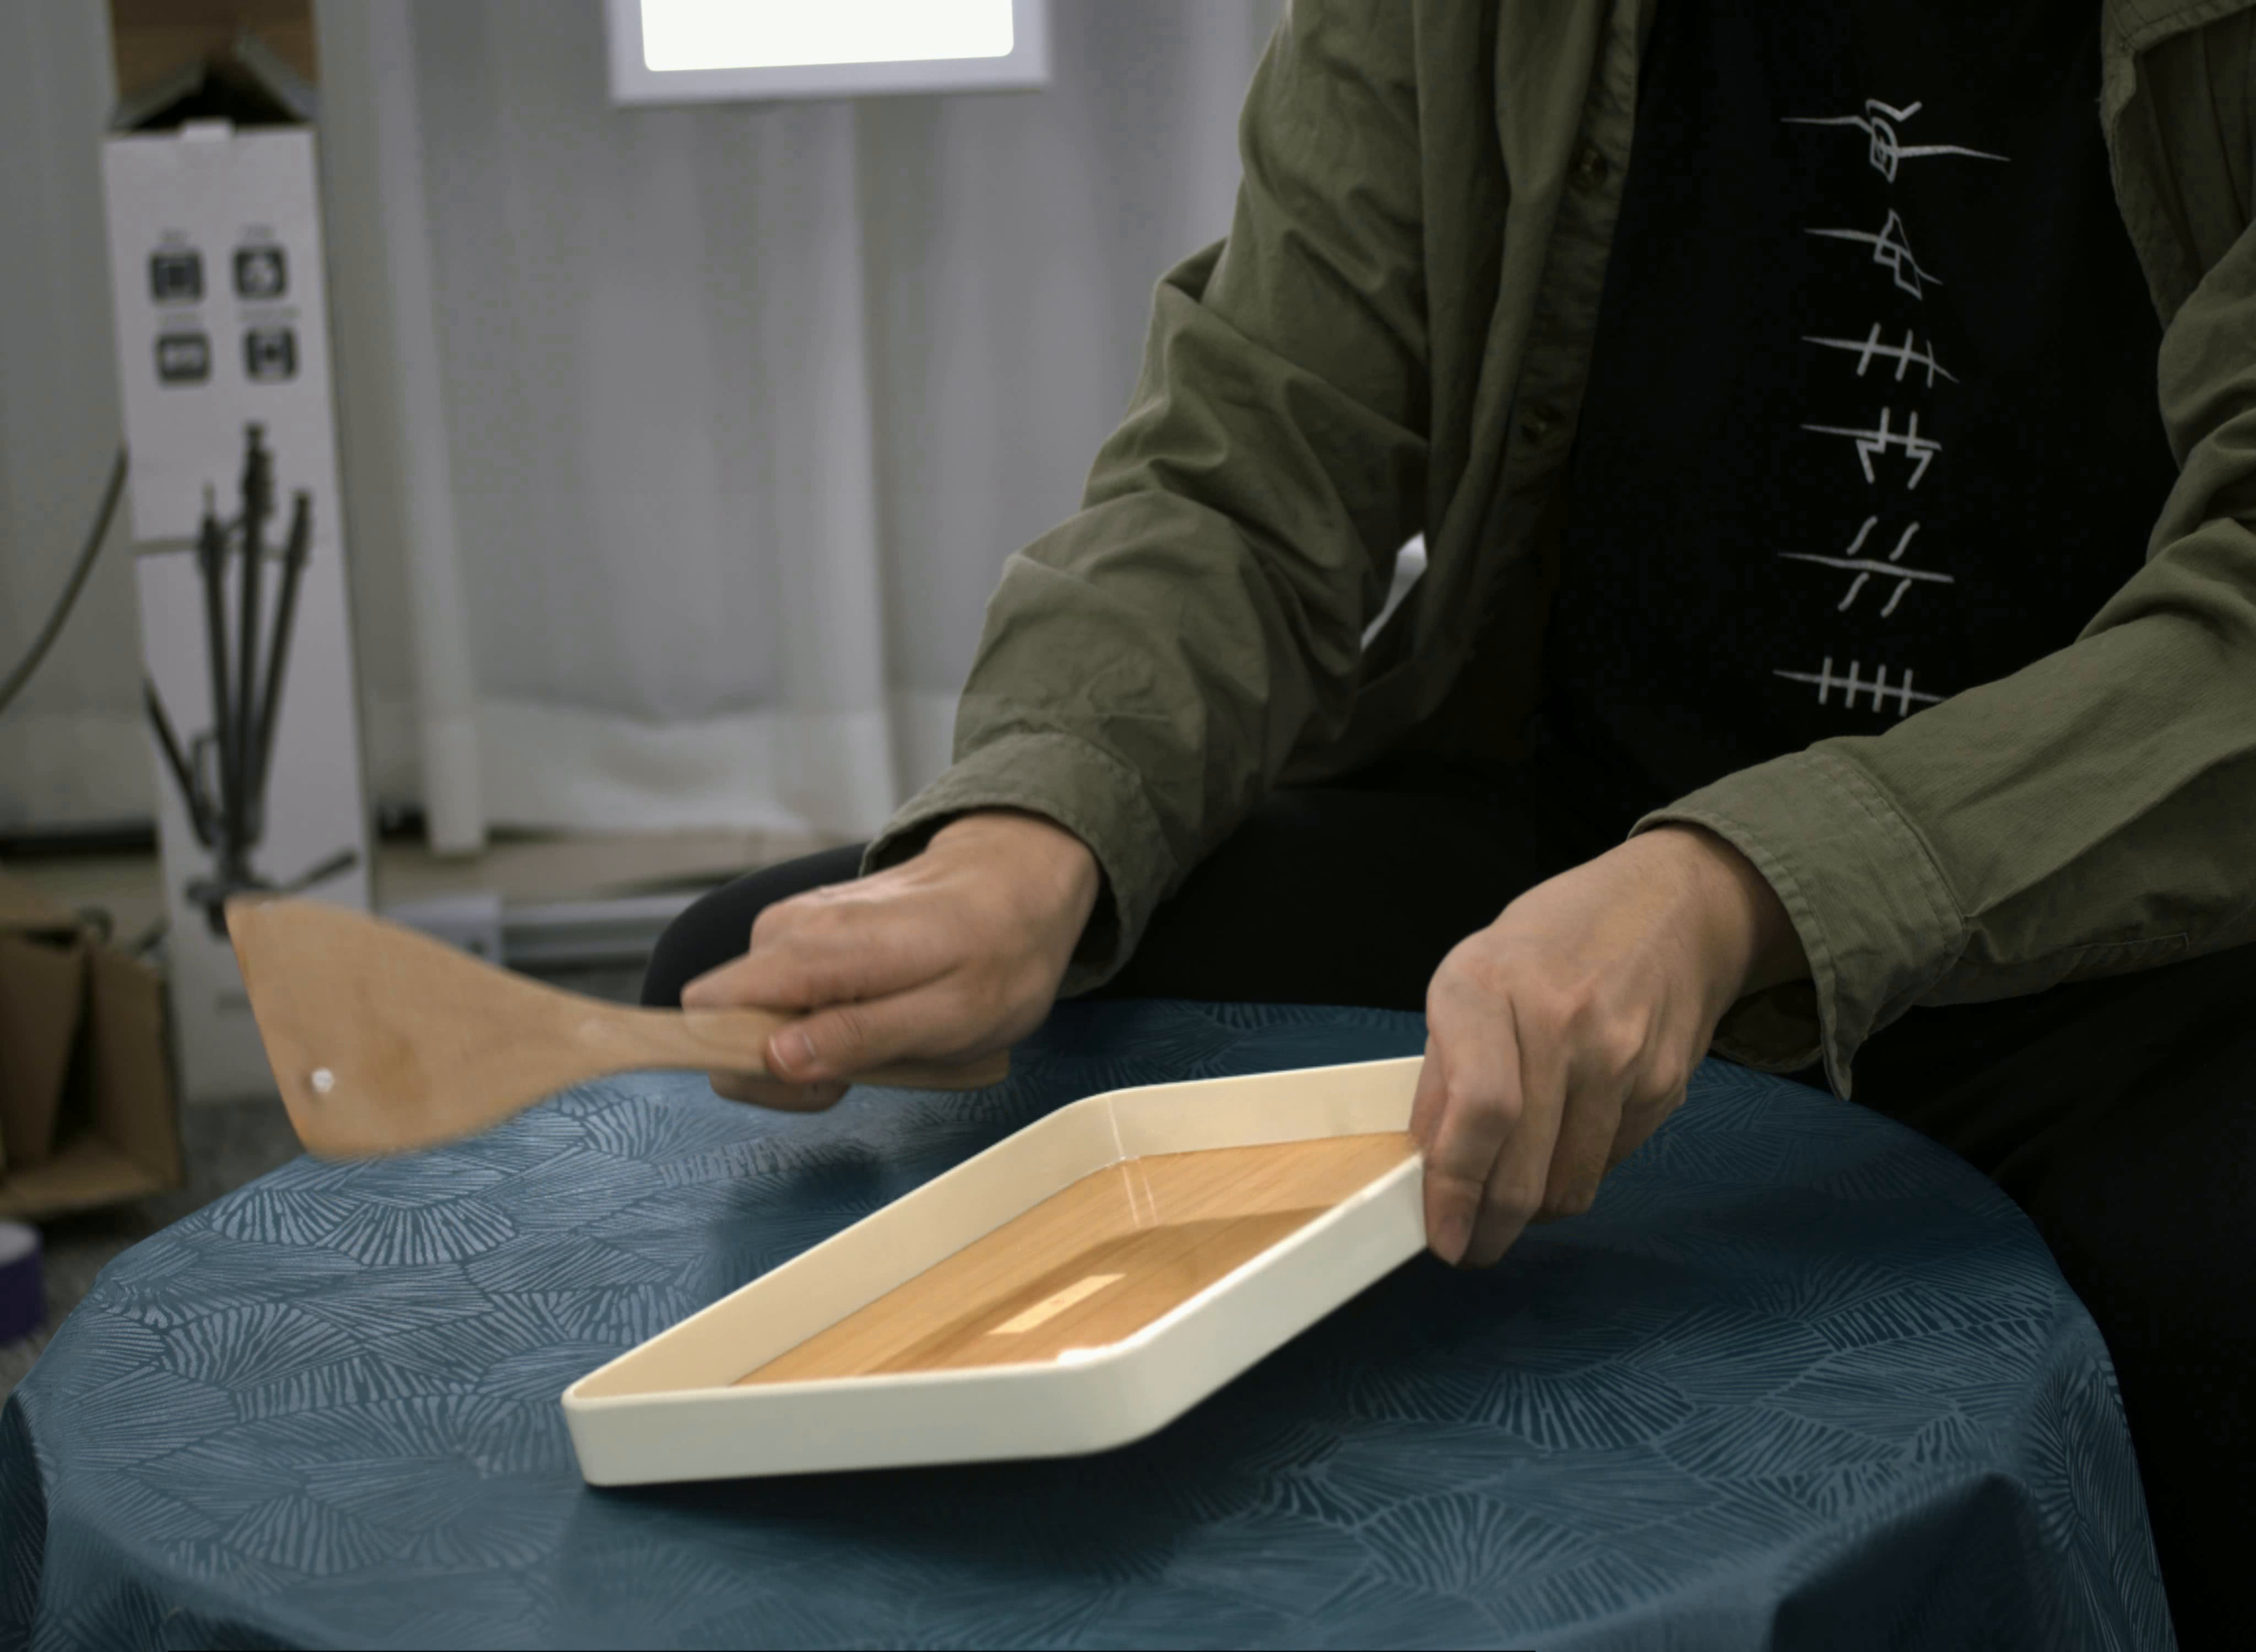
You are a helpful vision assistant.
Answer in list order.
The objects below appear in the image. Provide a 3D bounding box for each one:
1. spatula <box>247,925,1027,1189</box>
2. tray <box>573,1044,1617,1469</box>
[{"bbox_3d":[-0.141,0.070,1.689,0.016,0.081,0.325,-26,-18,39],"label":"spatula"},{"bbox_3d":[-0.003,0.121,1.569,0.191,0.027,0.300,-7,9,33],"label":"tray"}]
